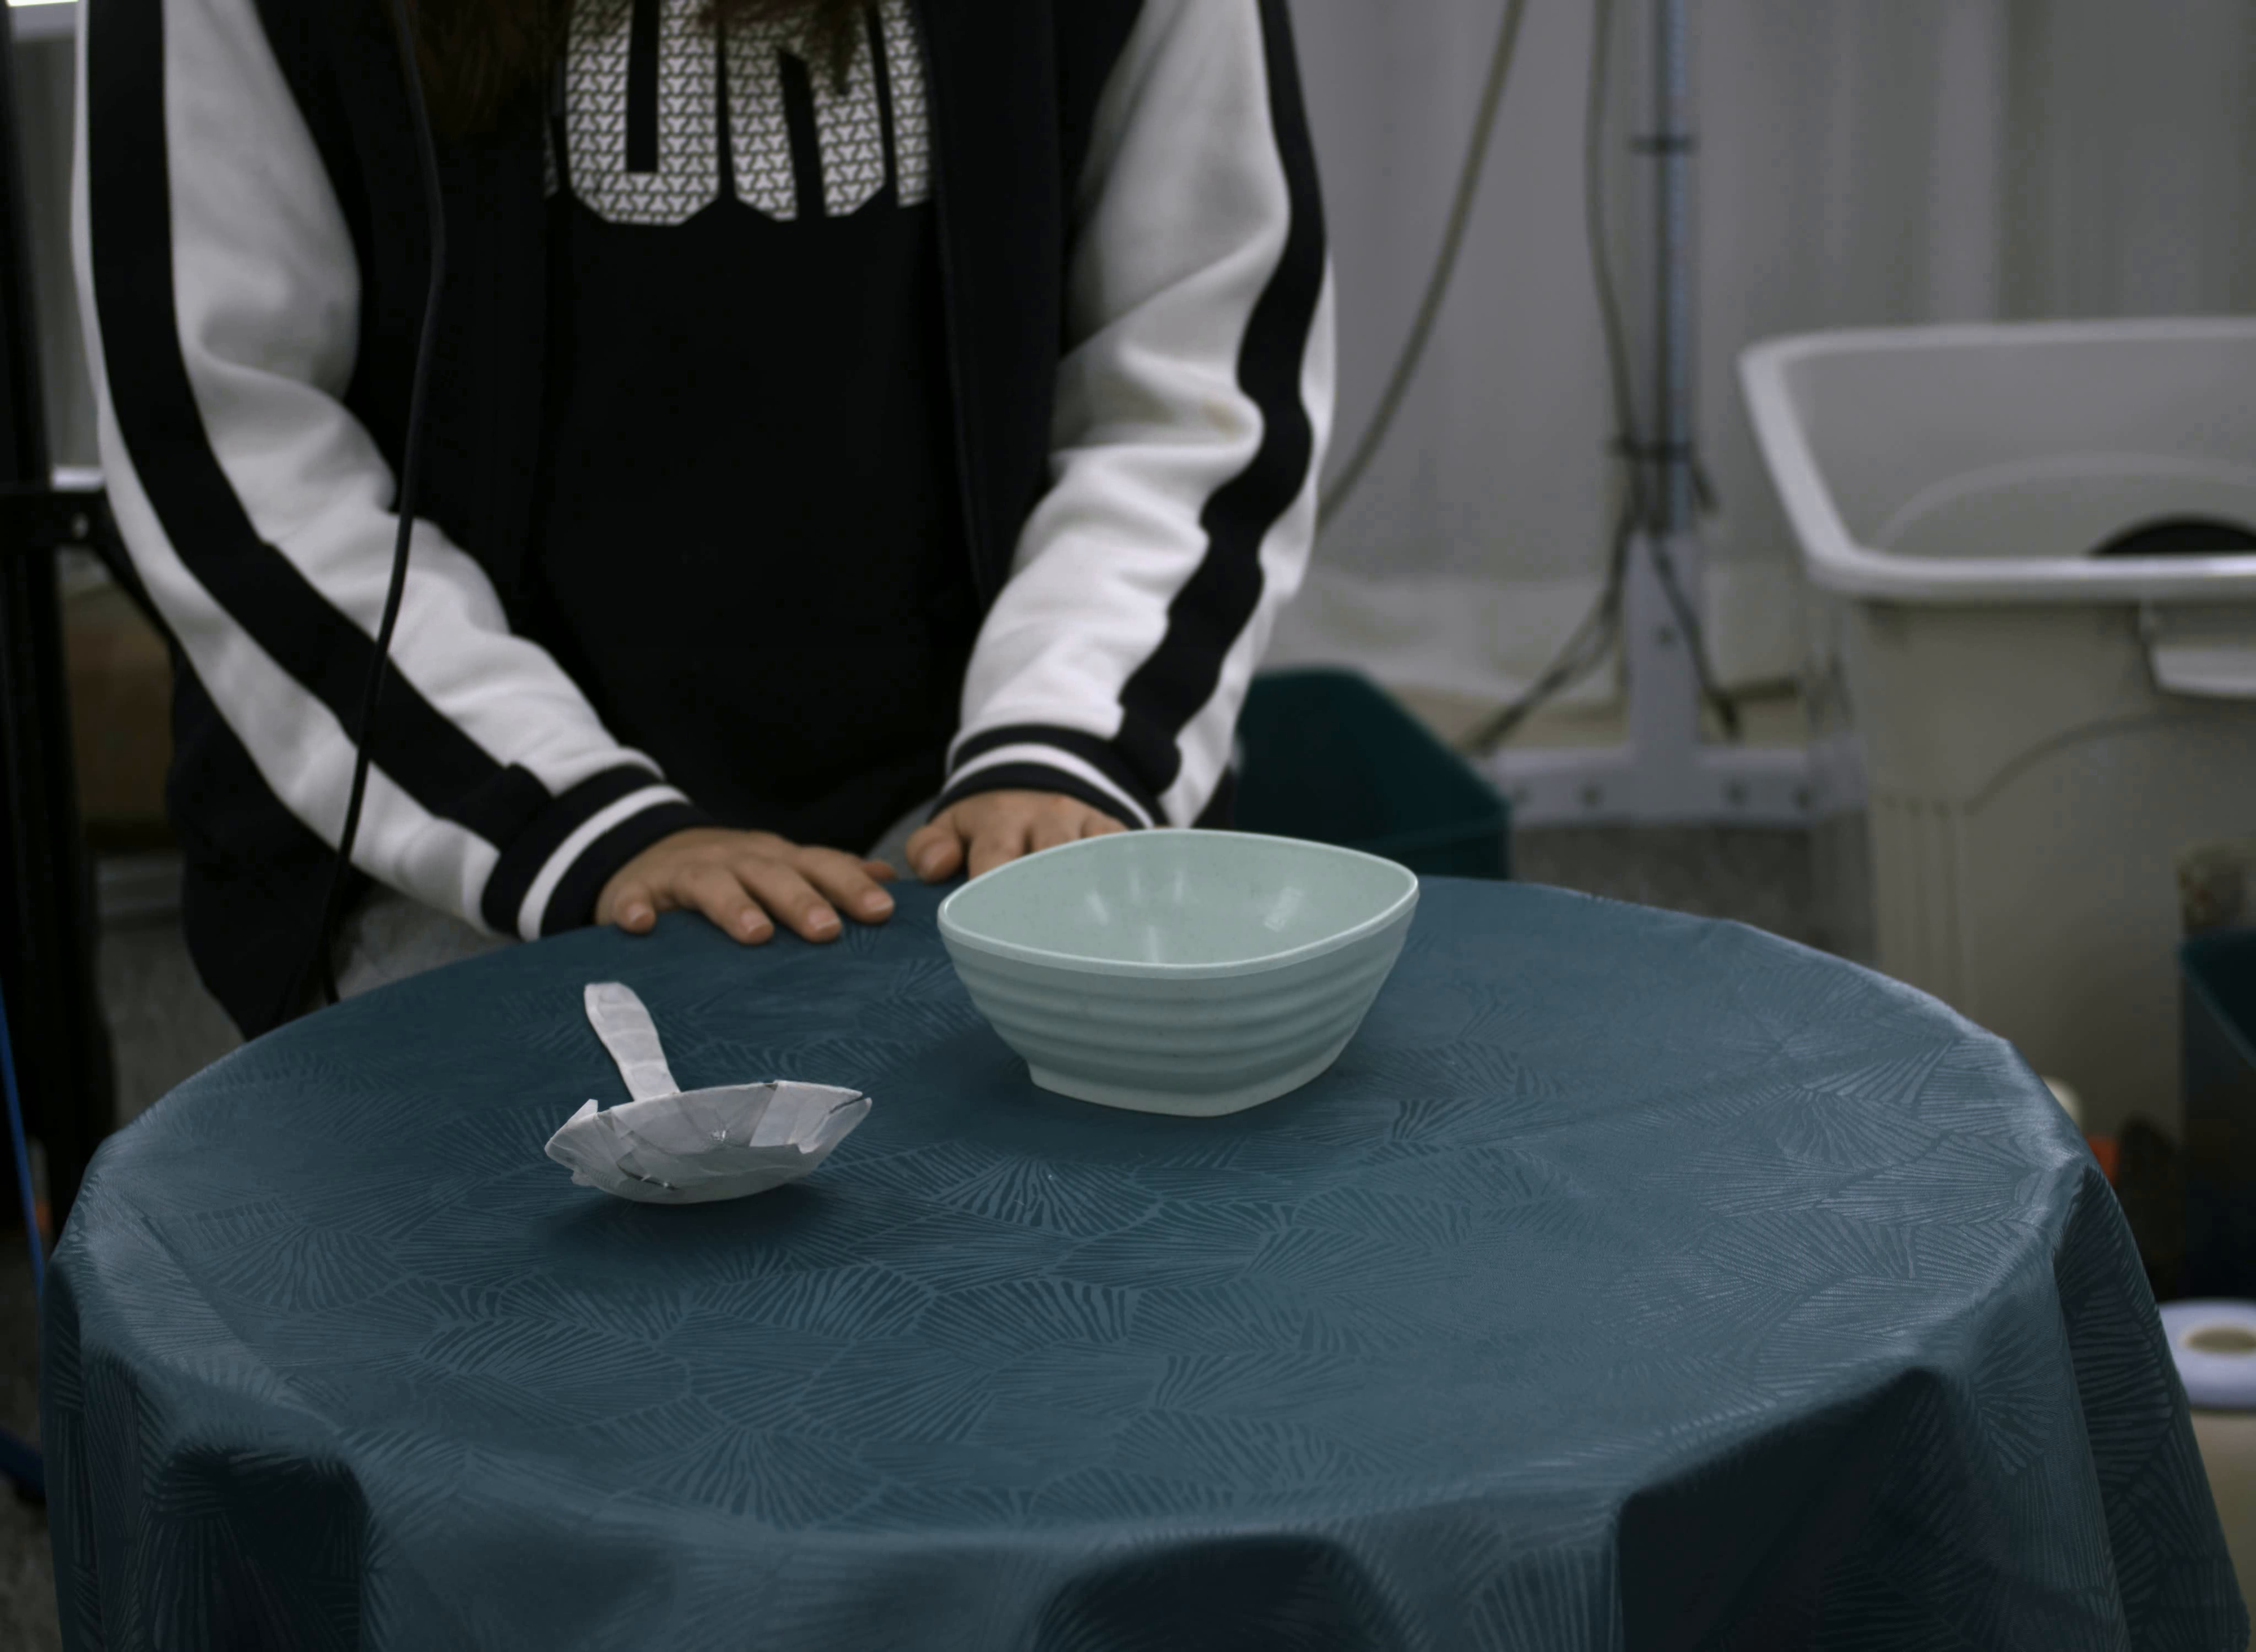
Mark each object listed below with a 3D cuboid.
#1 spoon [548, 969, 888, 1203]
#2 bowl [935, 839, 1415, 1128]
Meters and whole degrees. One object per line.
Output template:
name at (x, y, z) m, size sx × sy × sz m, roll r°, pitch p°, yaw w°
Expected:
spoon at (-0.135, 0.062, 1.639) m, size 0.099 × 0.059 × 0.280 m, roll 0°, pitch 15°, yaw -10°
bowl at (0.016, 0.052, 1.660) m, size 0.150 × 0.058 × 0.152 m, roll -3°, pitch 15°, yaw -1°
